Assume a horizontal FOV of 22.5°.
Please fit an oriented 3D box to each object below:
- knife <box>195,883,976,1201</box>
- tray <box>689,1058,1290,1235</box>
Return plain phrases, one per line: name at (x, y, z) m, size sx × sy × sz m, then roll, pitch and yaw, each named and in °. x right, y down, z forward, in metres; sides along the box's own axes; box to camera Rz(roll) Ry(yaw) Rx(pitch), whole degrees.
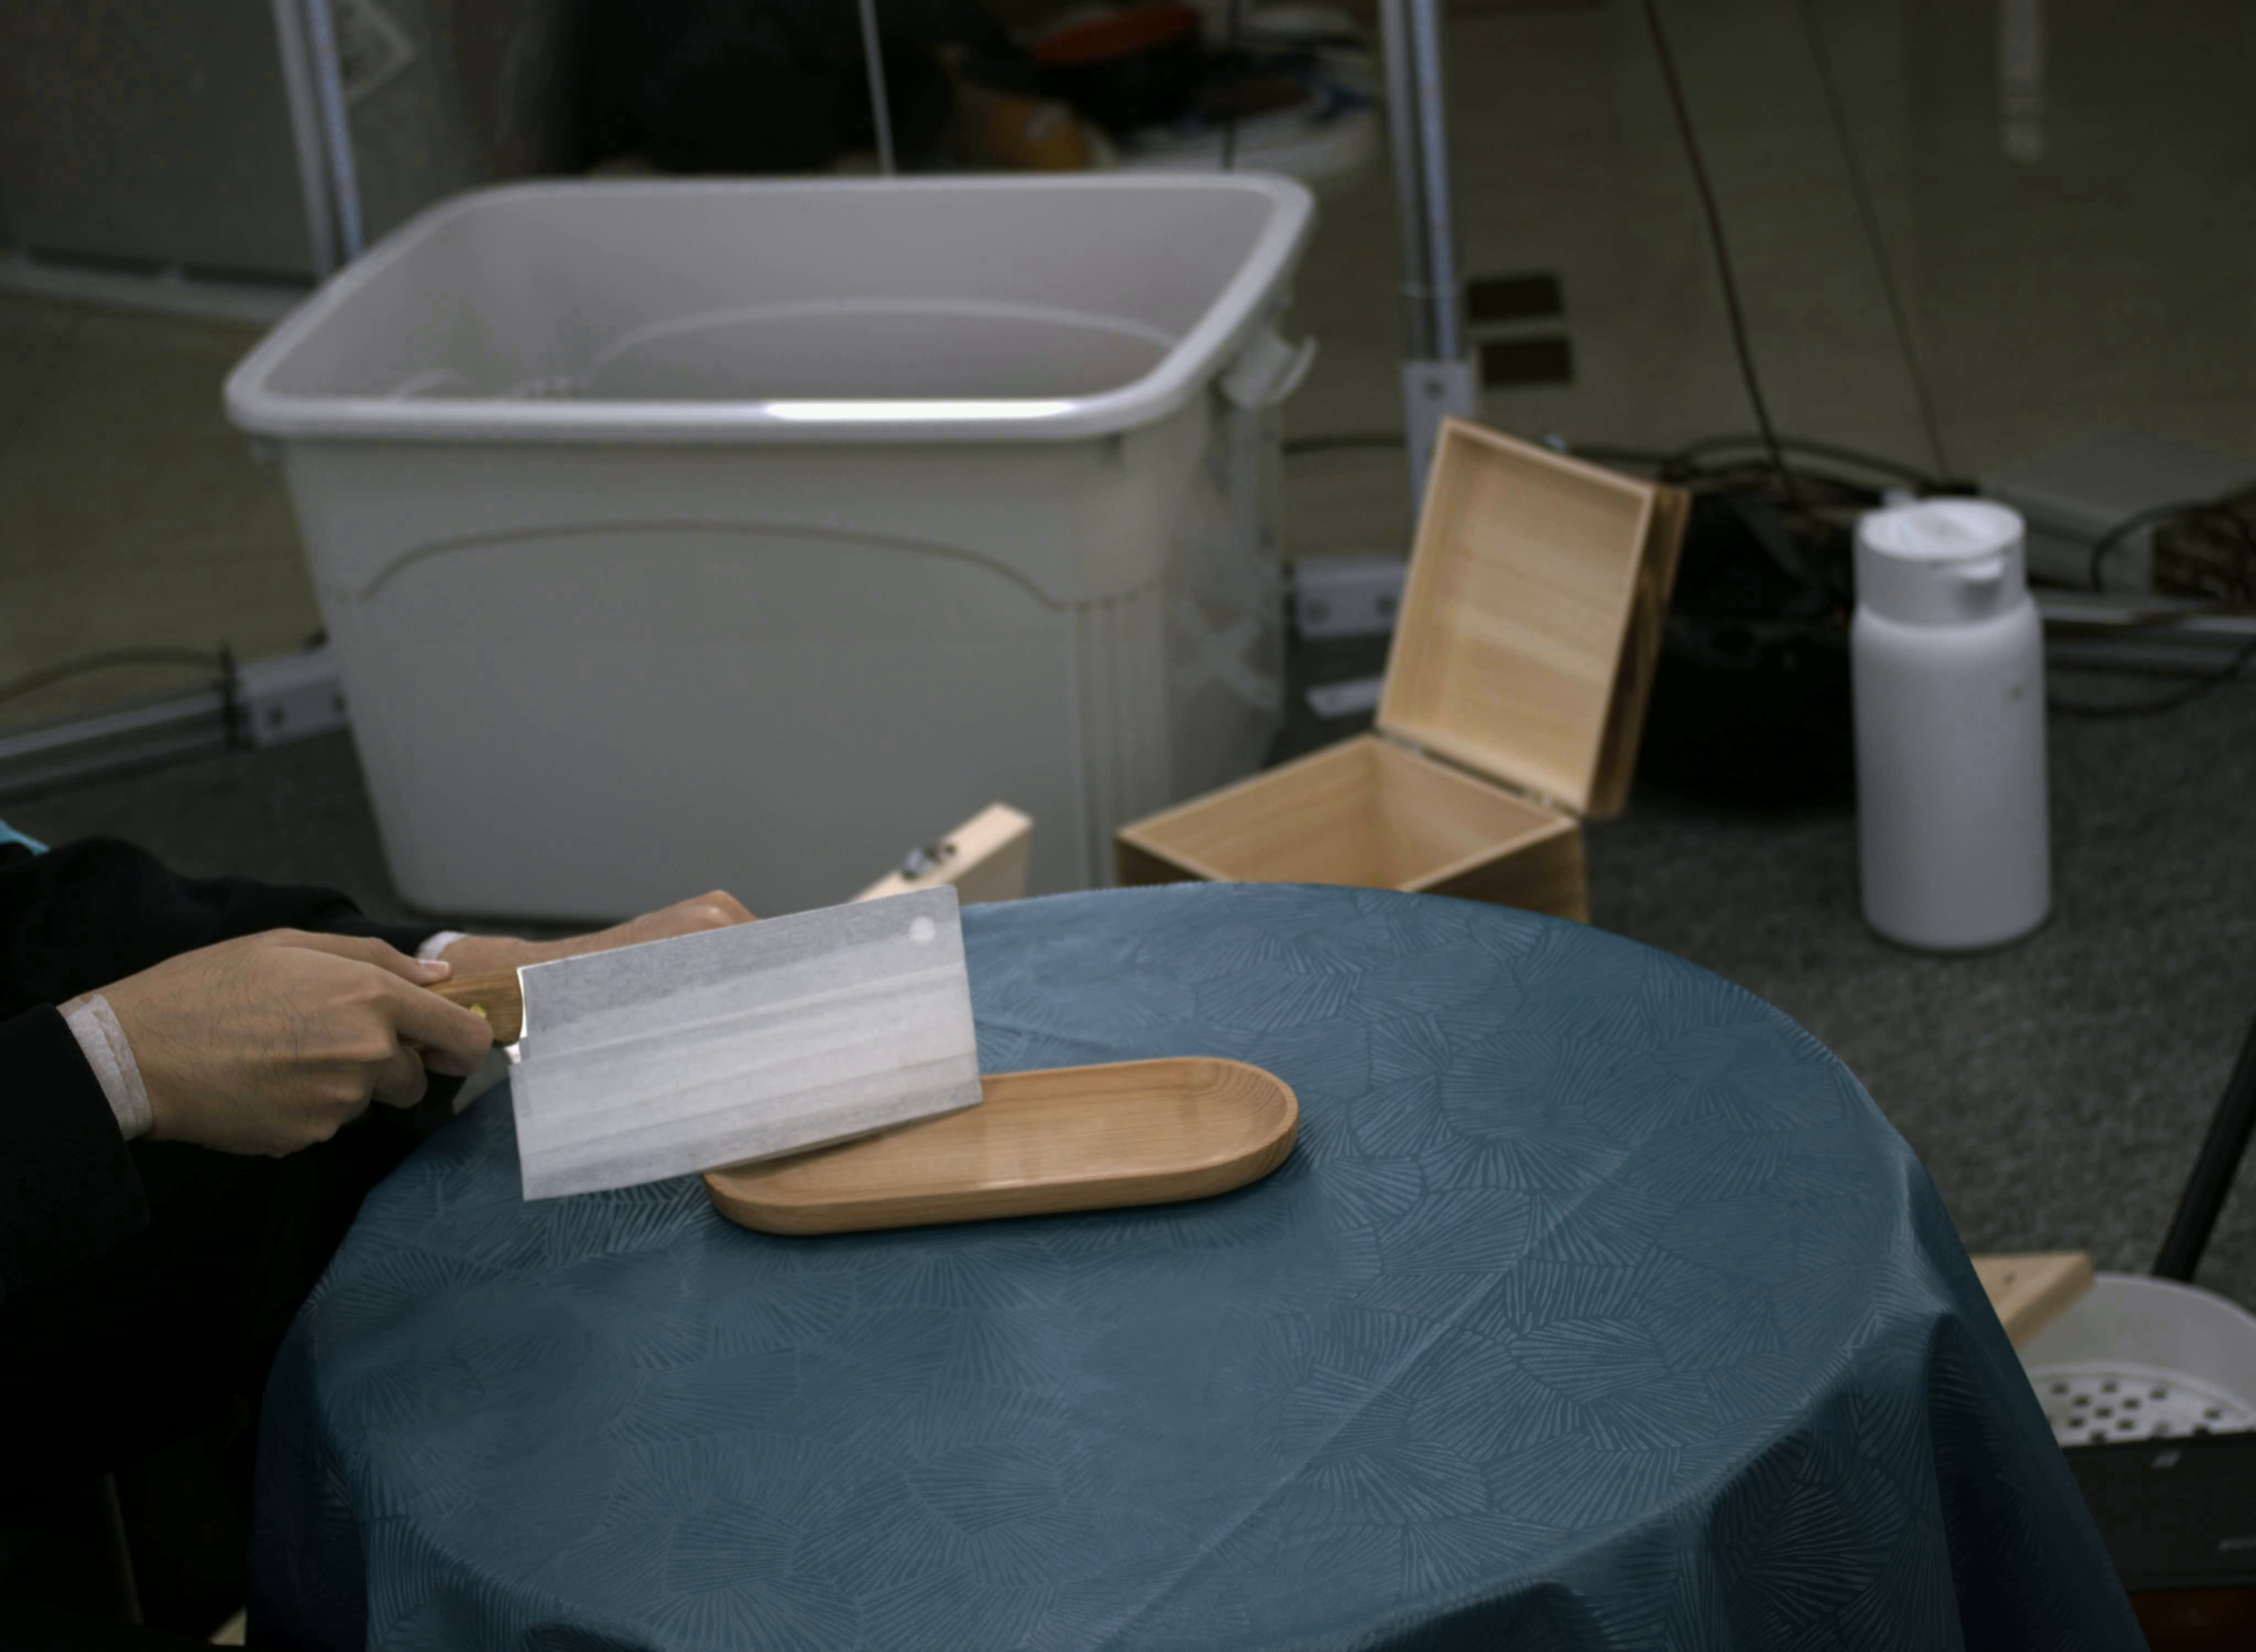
knife at (-0.199, 0.090, 2.136) m, size 0.305 × 0.094 × 0.021 m, roll -11°, pitch 13°, yaw -23°
tray at (-0.053, 0.123, 2.172) m, size 0.231 × 0.020 × 0.100 m, roll -6°, pitch 23°, yaw 4°
